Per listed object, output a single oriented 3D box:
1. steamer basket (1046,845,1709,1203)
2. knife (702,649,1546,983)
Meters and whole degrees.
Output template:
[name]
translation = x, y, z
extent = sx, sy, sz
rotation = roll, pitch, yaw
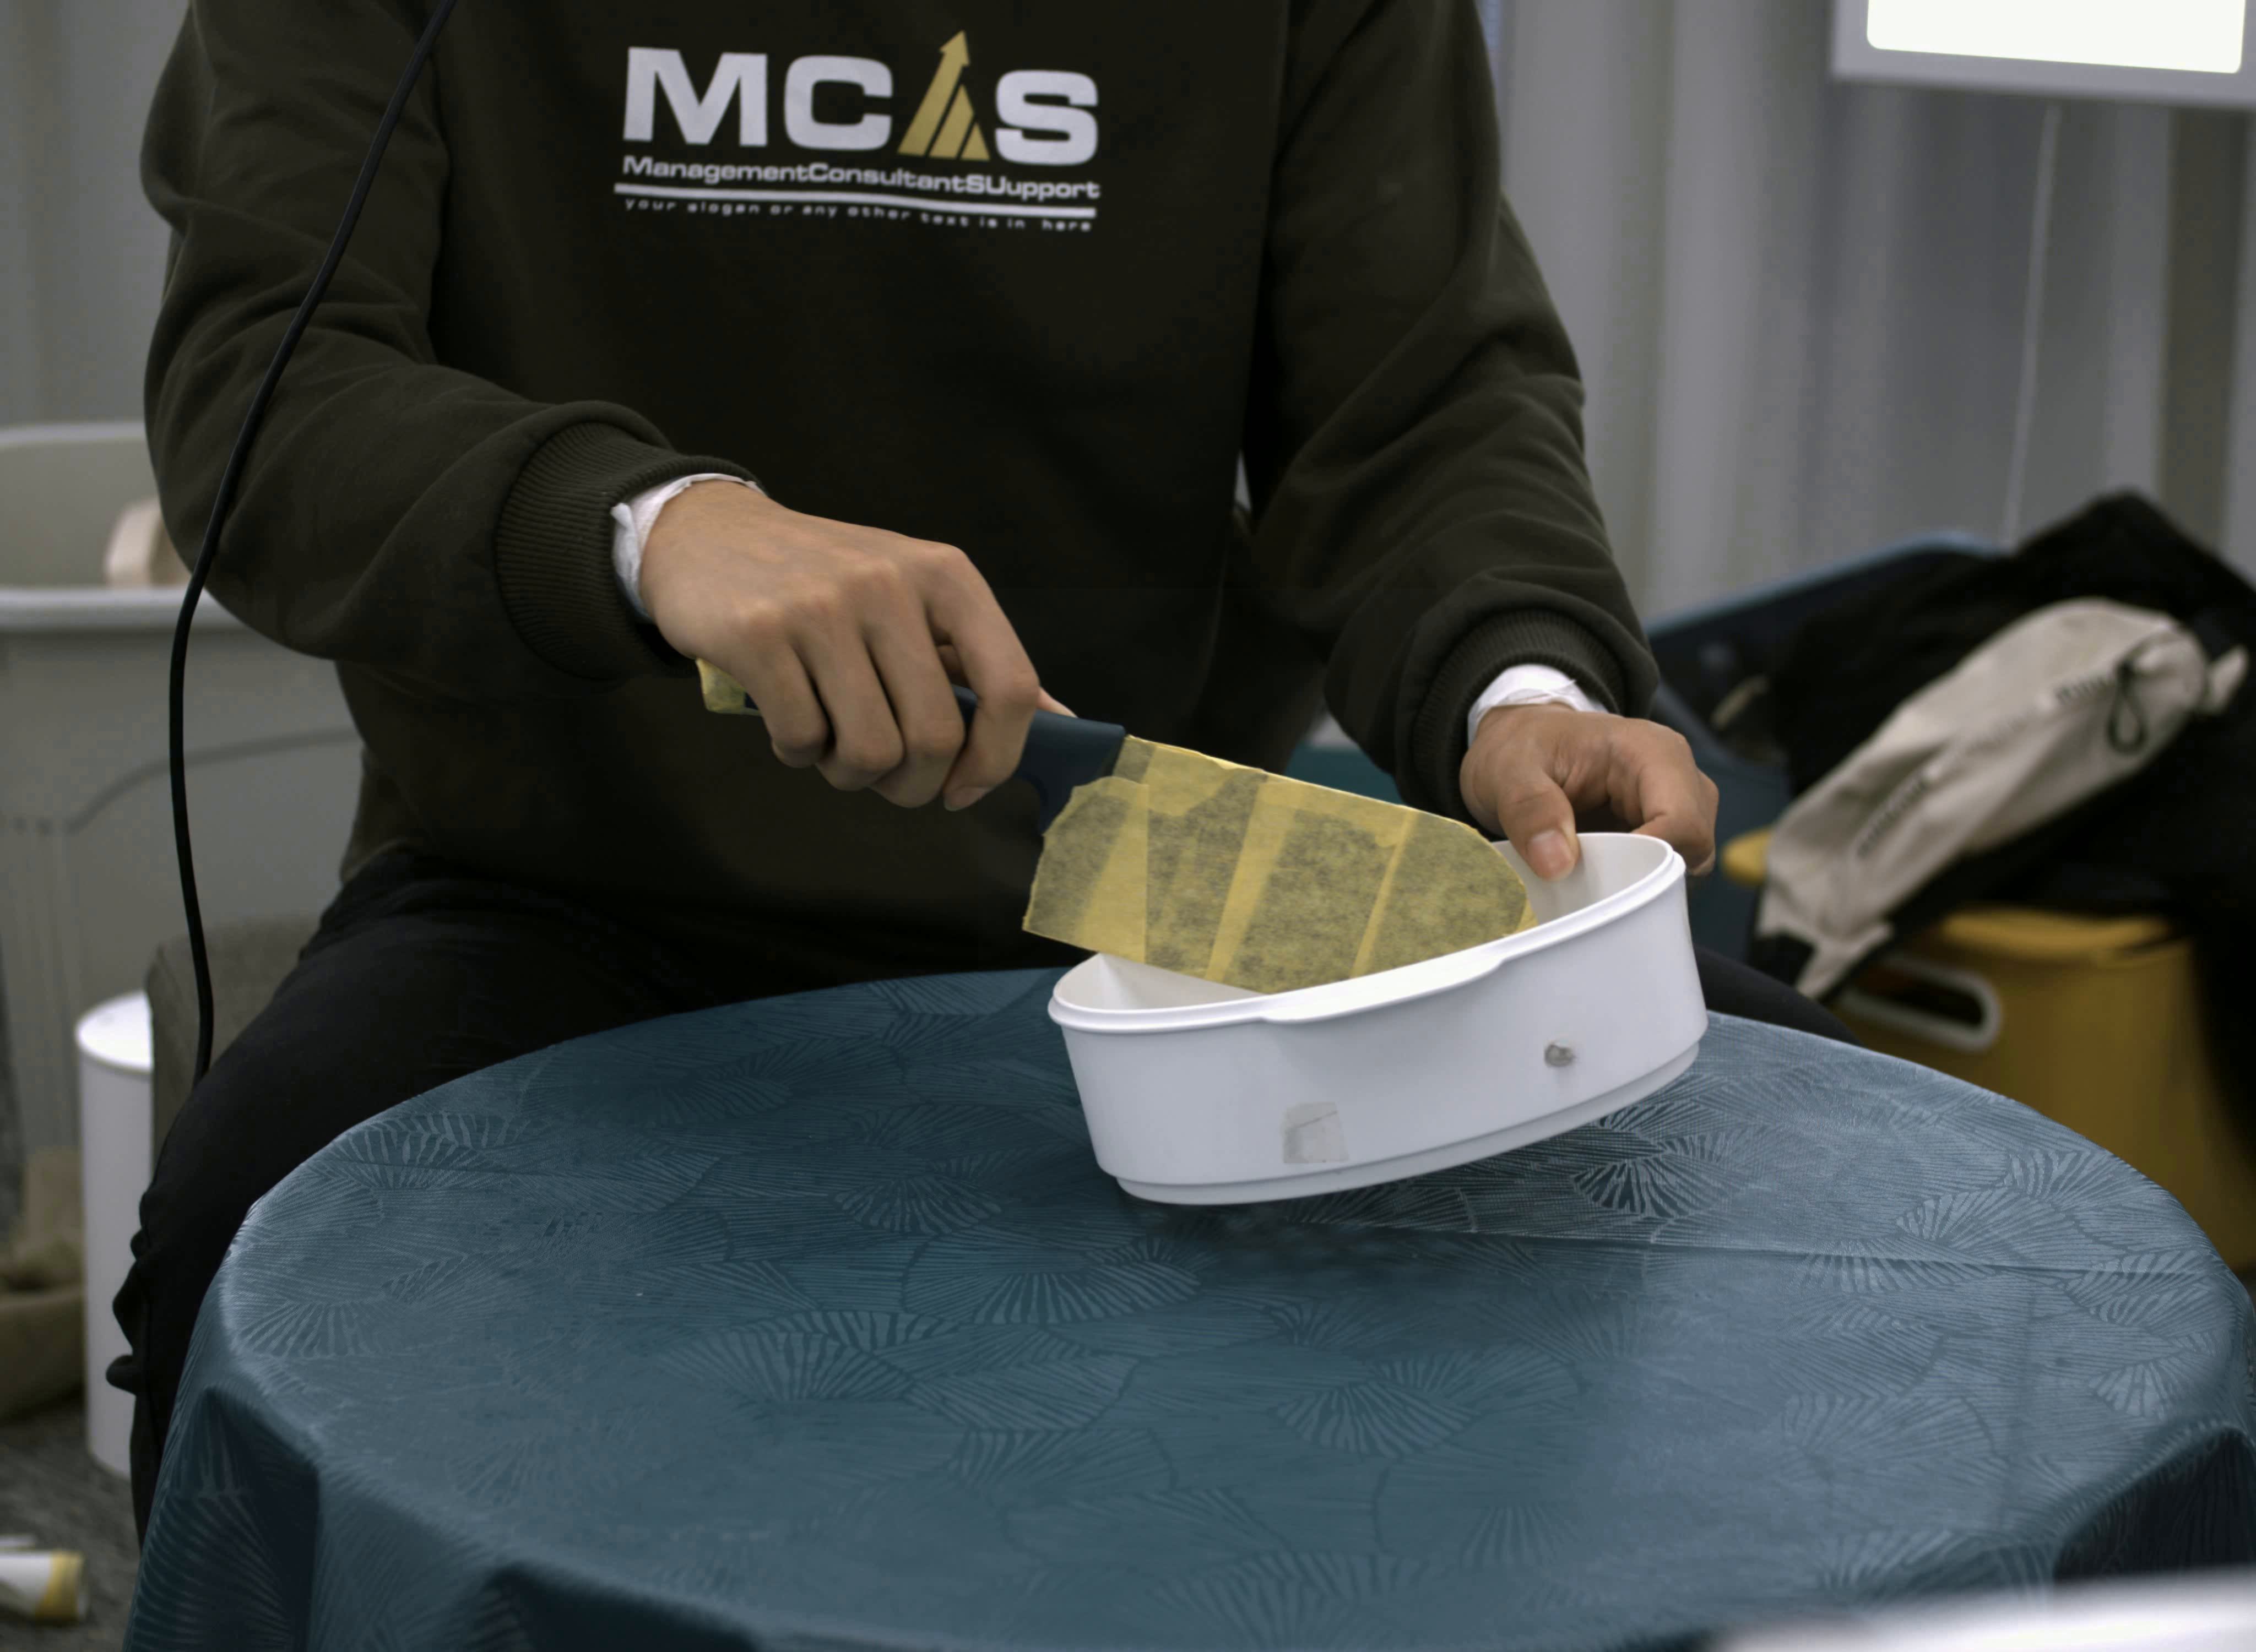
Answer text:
[steamer basket]
translation = 0.079, 0.061, 1.616
extent = 0.201, 0.069, 0.230
rotation = -13, 7, 2
[knife]
translation = 0.001, 0.004, 1.652
extent = 0.290, 0.081, 0.027
rotation = 18, 17, -9
